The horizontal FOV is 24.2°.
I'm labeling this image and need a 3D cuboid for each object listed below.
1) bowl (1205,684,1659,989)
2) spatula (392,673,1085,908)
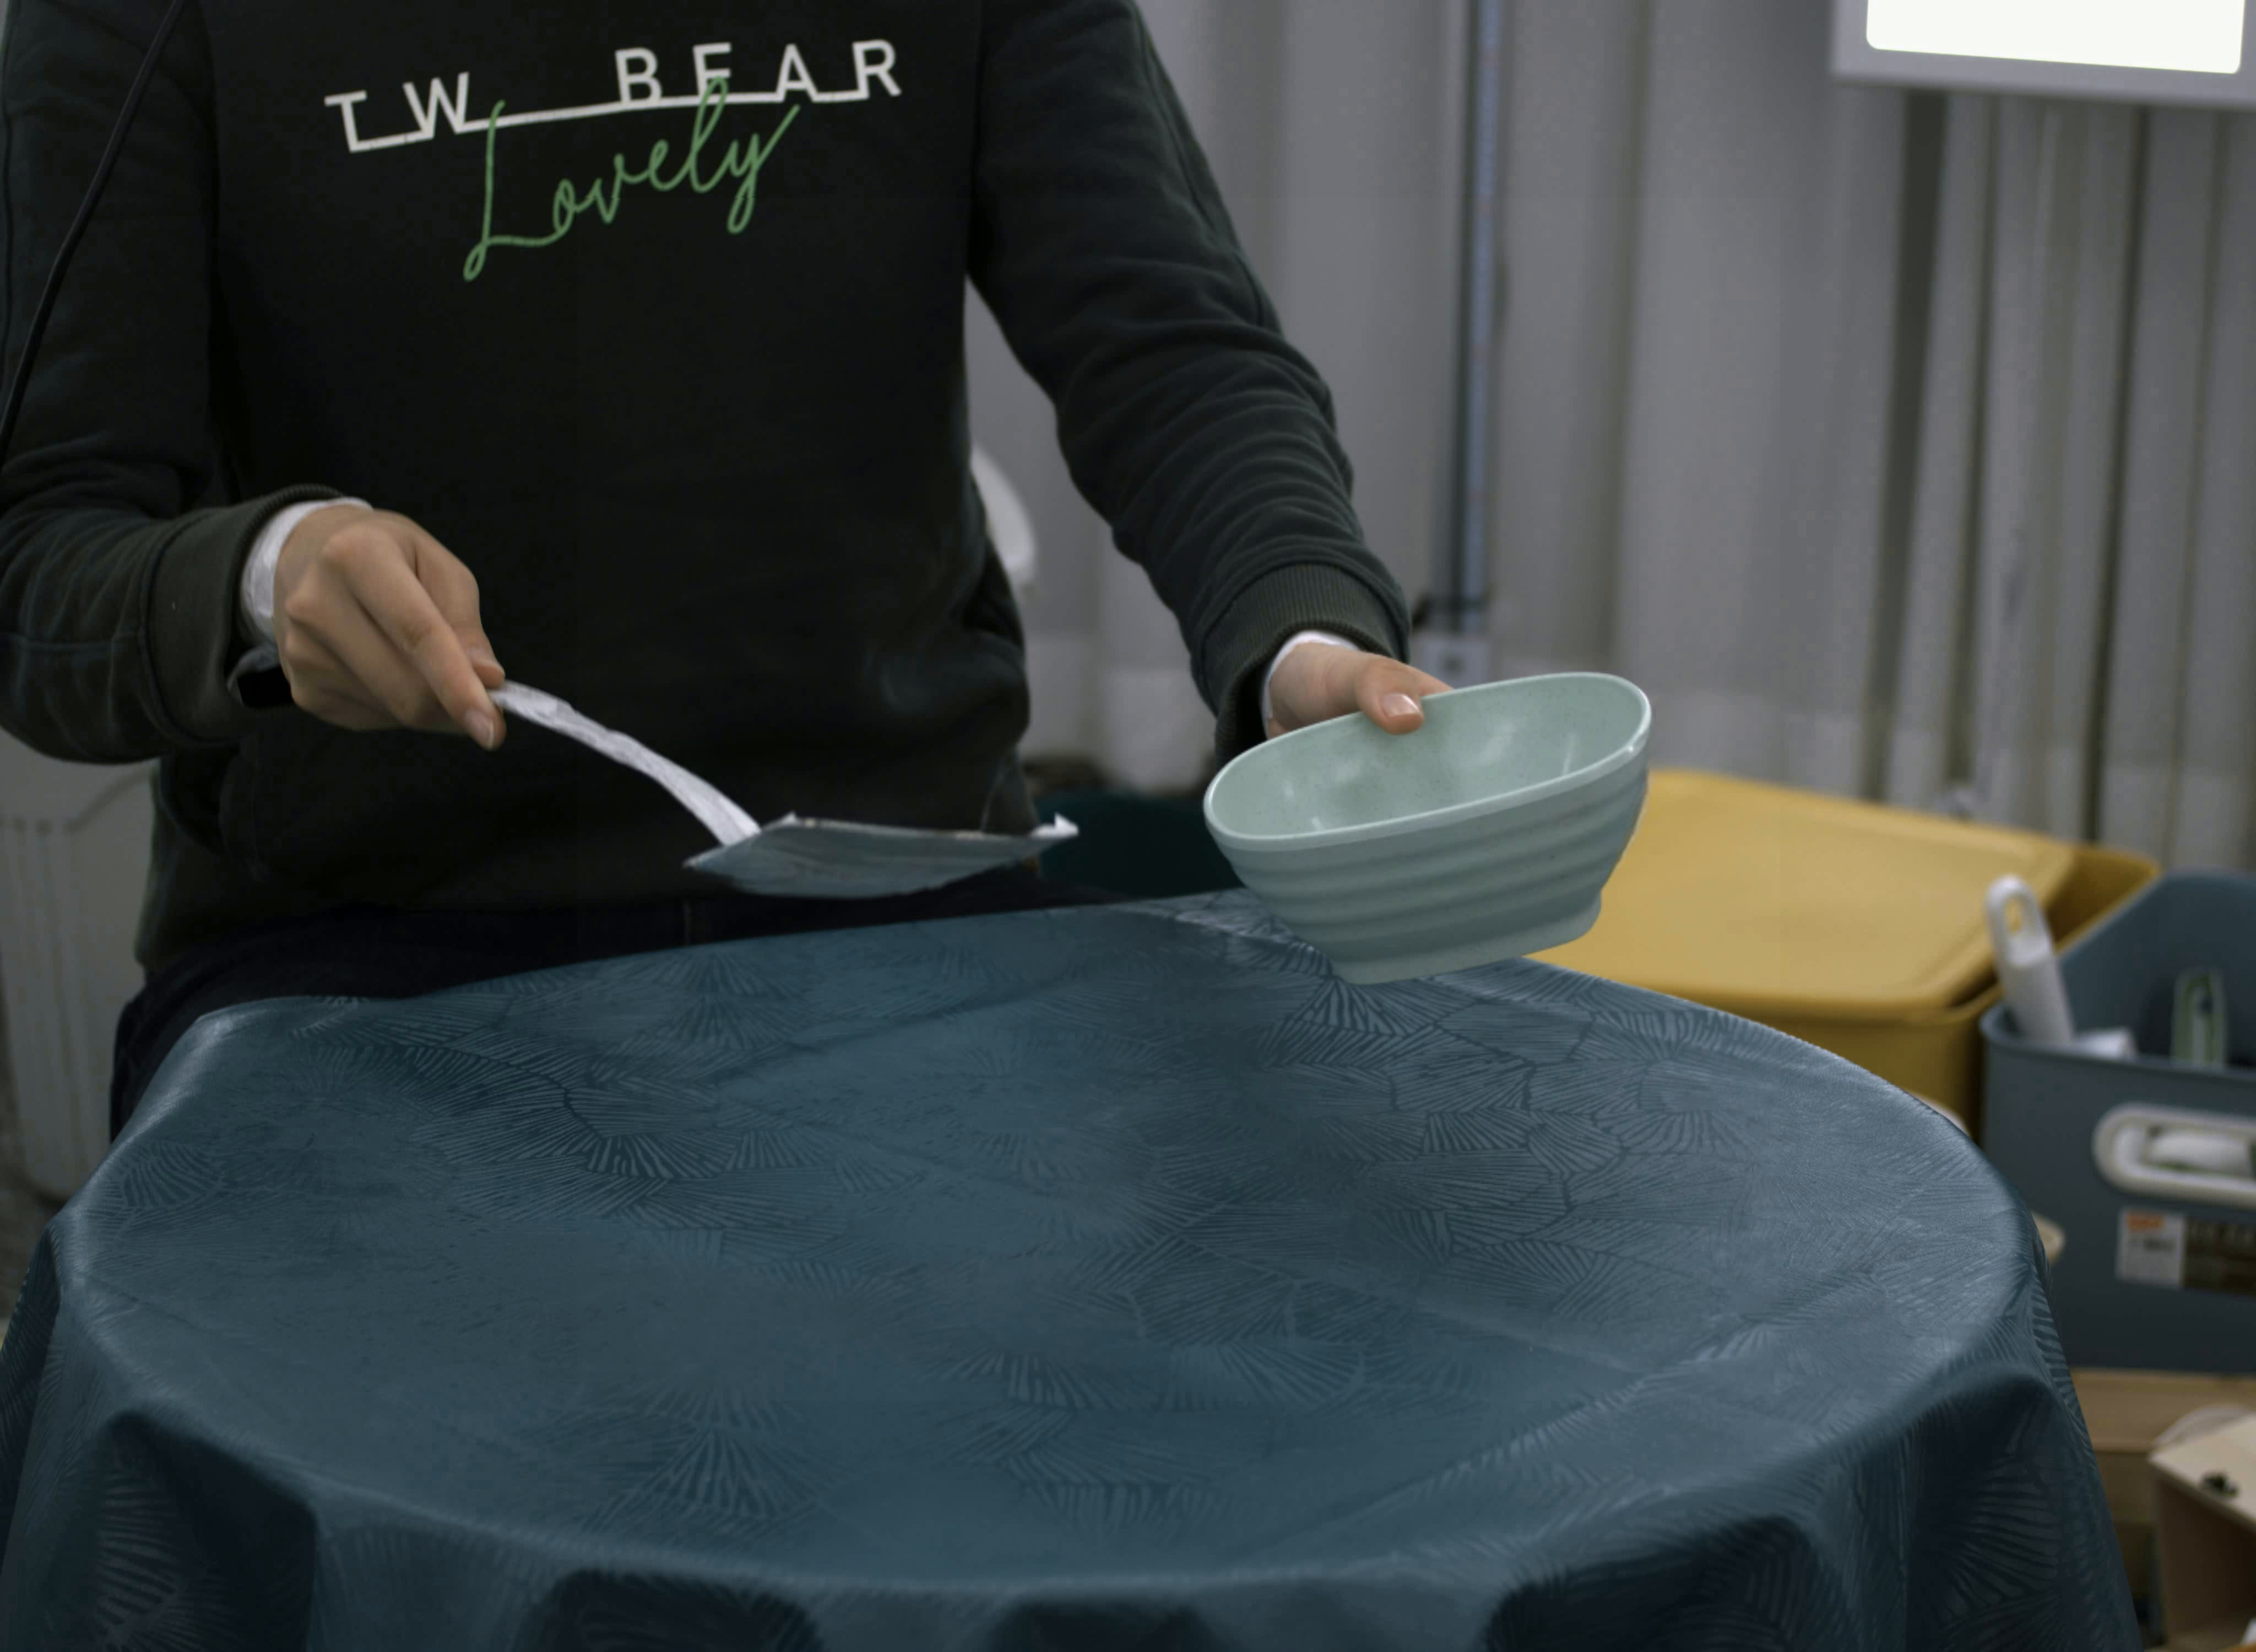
[{"bbox_3d":[0.096,0.007,1.600,0.151,0.059,0.150,-9,16,3],"label":"bowl"},{"bbox_3d":[-0.141,-0.021,1.563,0.099,0.045,0.360,0,15,-34],"label":"spatula"}]
